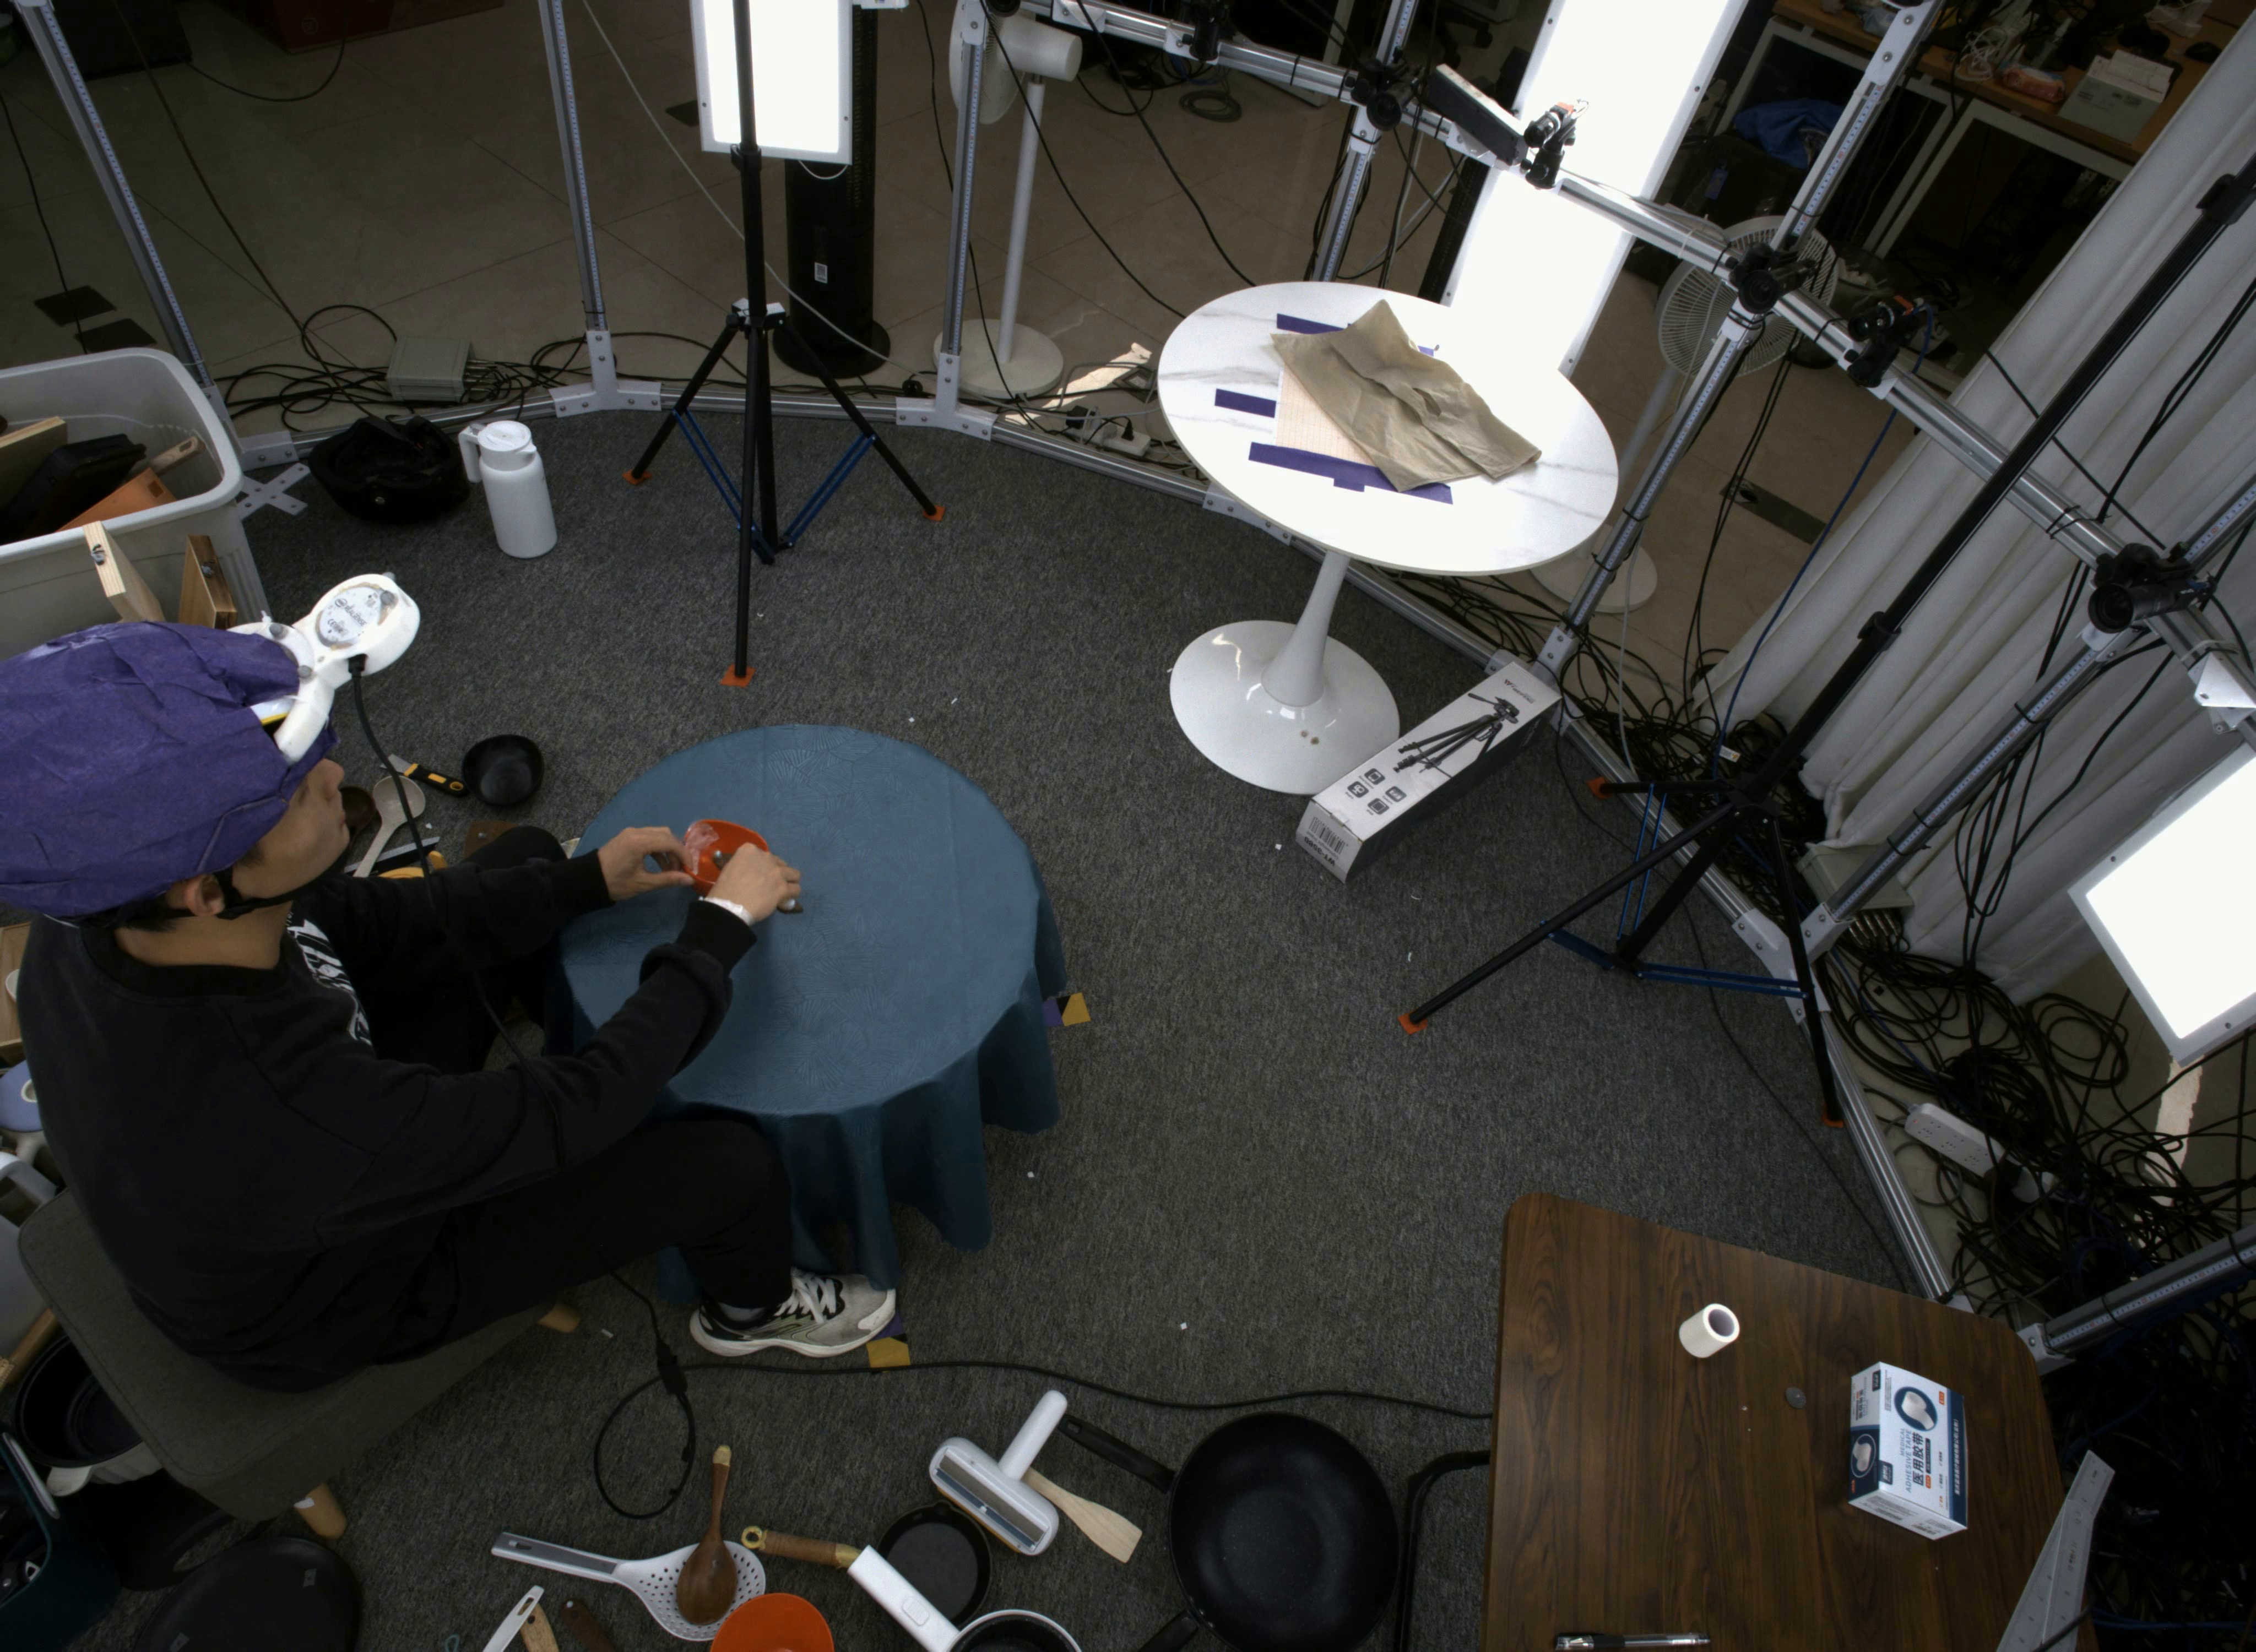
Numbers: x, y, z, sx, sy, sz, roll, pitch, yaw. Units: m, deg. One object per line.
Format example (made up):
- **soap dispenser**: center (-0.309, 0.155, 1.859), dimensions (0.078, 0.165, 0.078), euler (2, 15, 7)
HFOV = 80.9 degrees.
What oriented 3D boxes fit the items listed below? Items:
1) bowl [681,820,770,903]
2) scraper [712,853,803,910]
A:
- **bowl**: center (-0.511, 0.051, 1.625), dimensions (0.120, 0.052, 0.116), euler (23, 40, -19)
- **scraper**: center (-0.434, 0.065, 1.545), dimensions (0.077, 0.011, 0.203), euler (-3, 17, -33)
